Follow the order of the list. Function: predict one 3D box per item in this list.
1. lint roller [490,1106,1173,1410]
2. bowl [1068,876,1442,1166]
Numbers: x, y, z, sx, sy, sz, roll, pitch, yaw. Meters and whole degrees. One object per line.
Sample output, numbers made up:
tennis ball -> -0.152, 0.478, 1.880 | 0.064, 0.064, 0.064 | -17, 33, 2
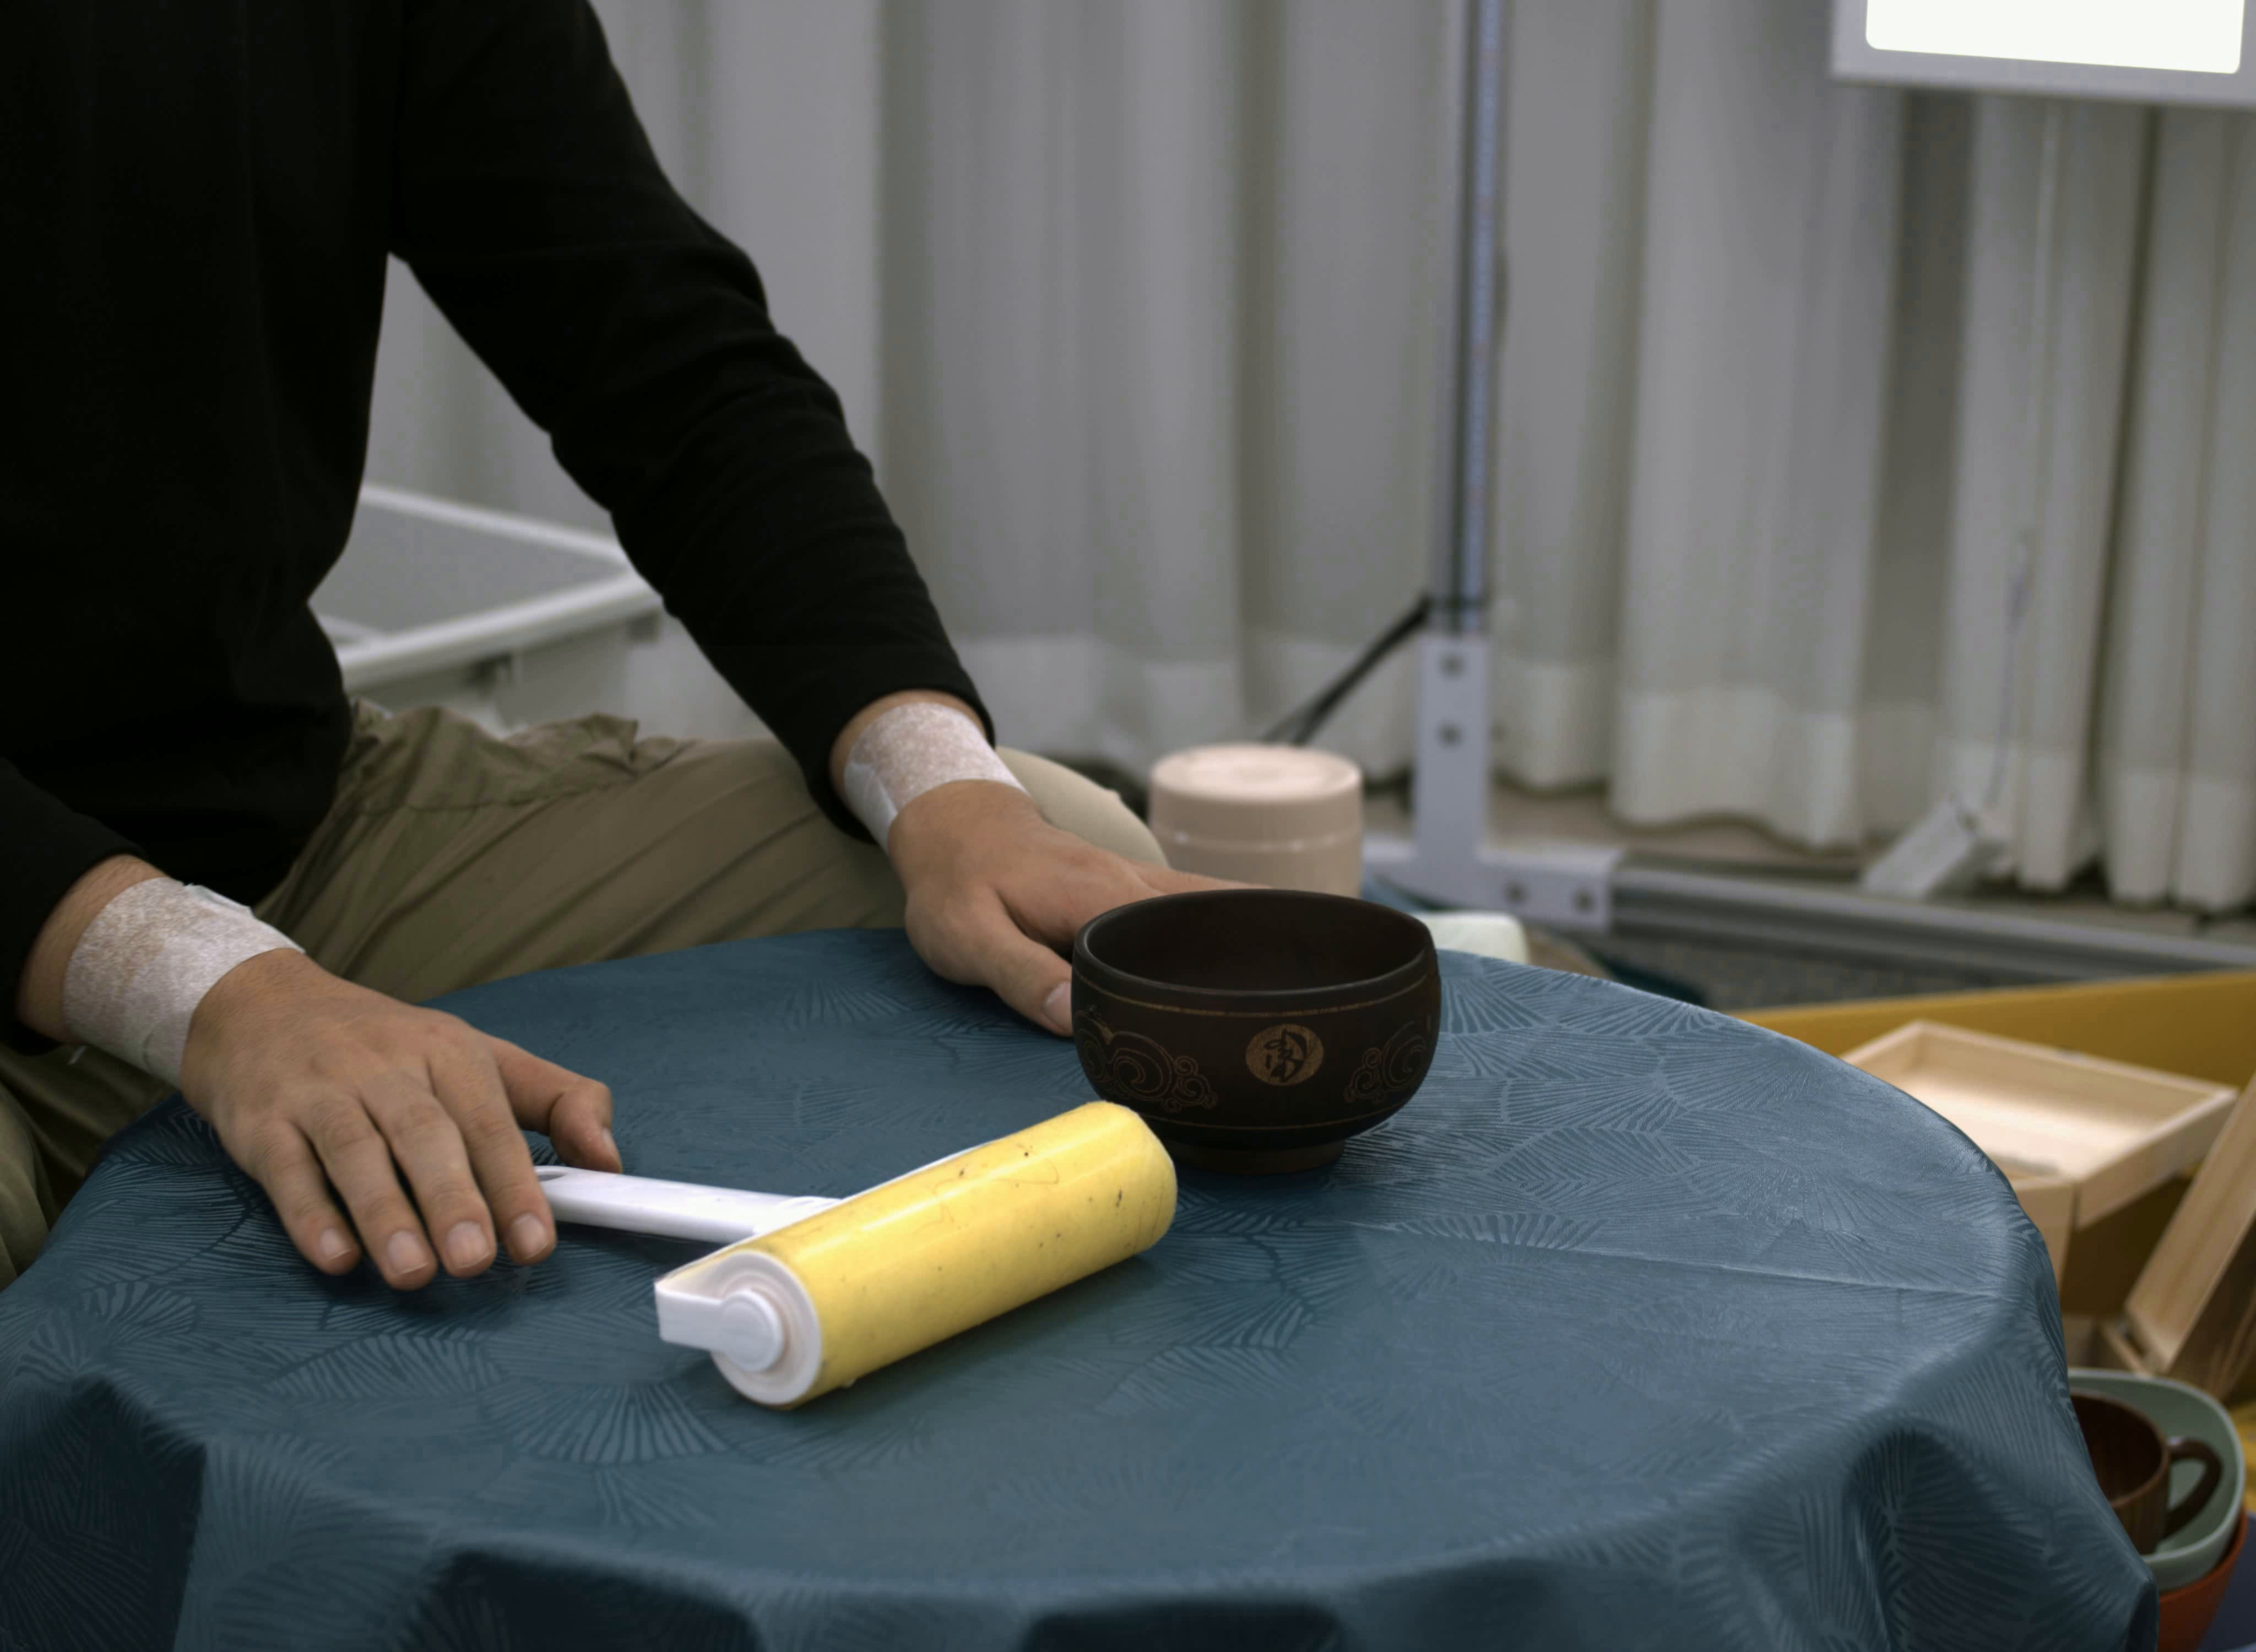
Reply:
lint roller -> -0.111, 0.107, 1.538 | 0.189, 0.052, 0.175 | 16, 22, 32
bowl -> 0.039, 0.065, 1.652 | 0.117, 0.070, 0.117 | 2, 16, 0
